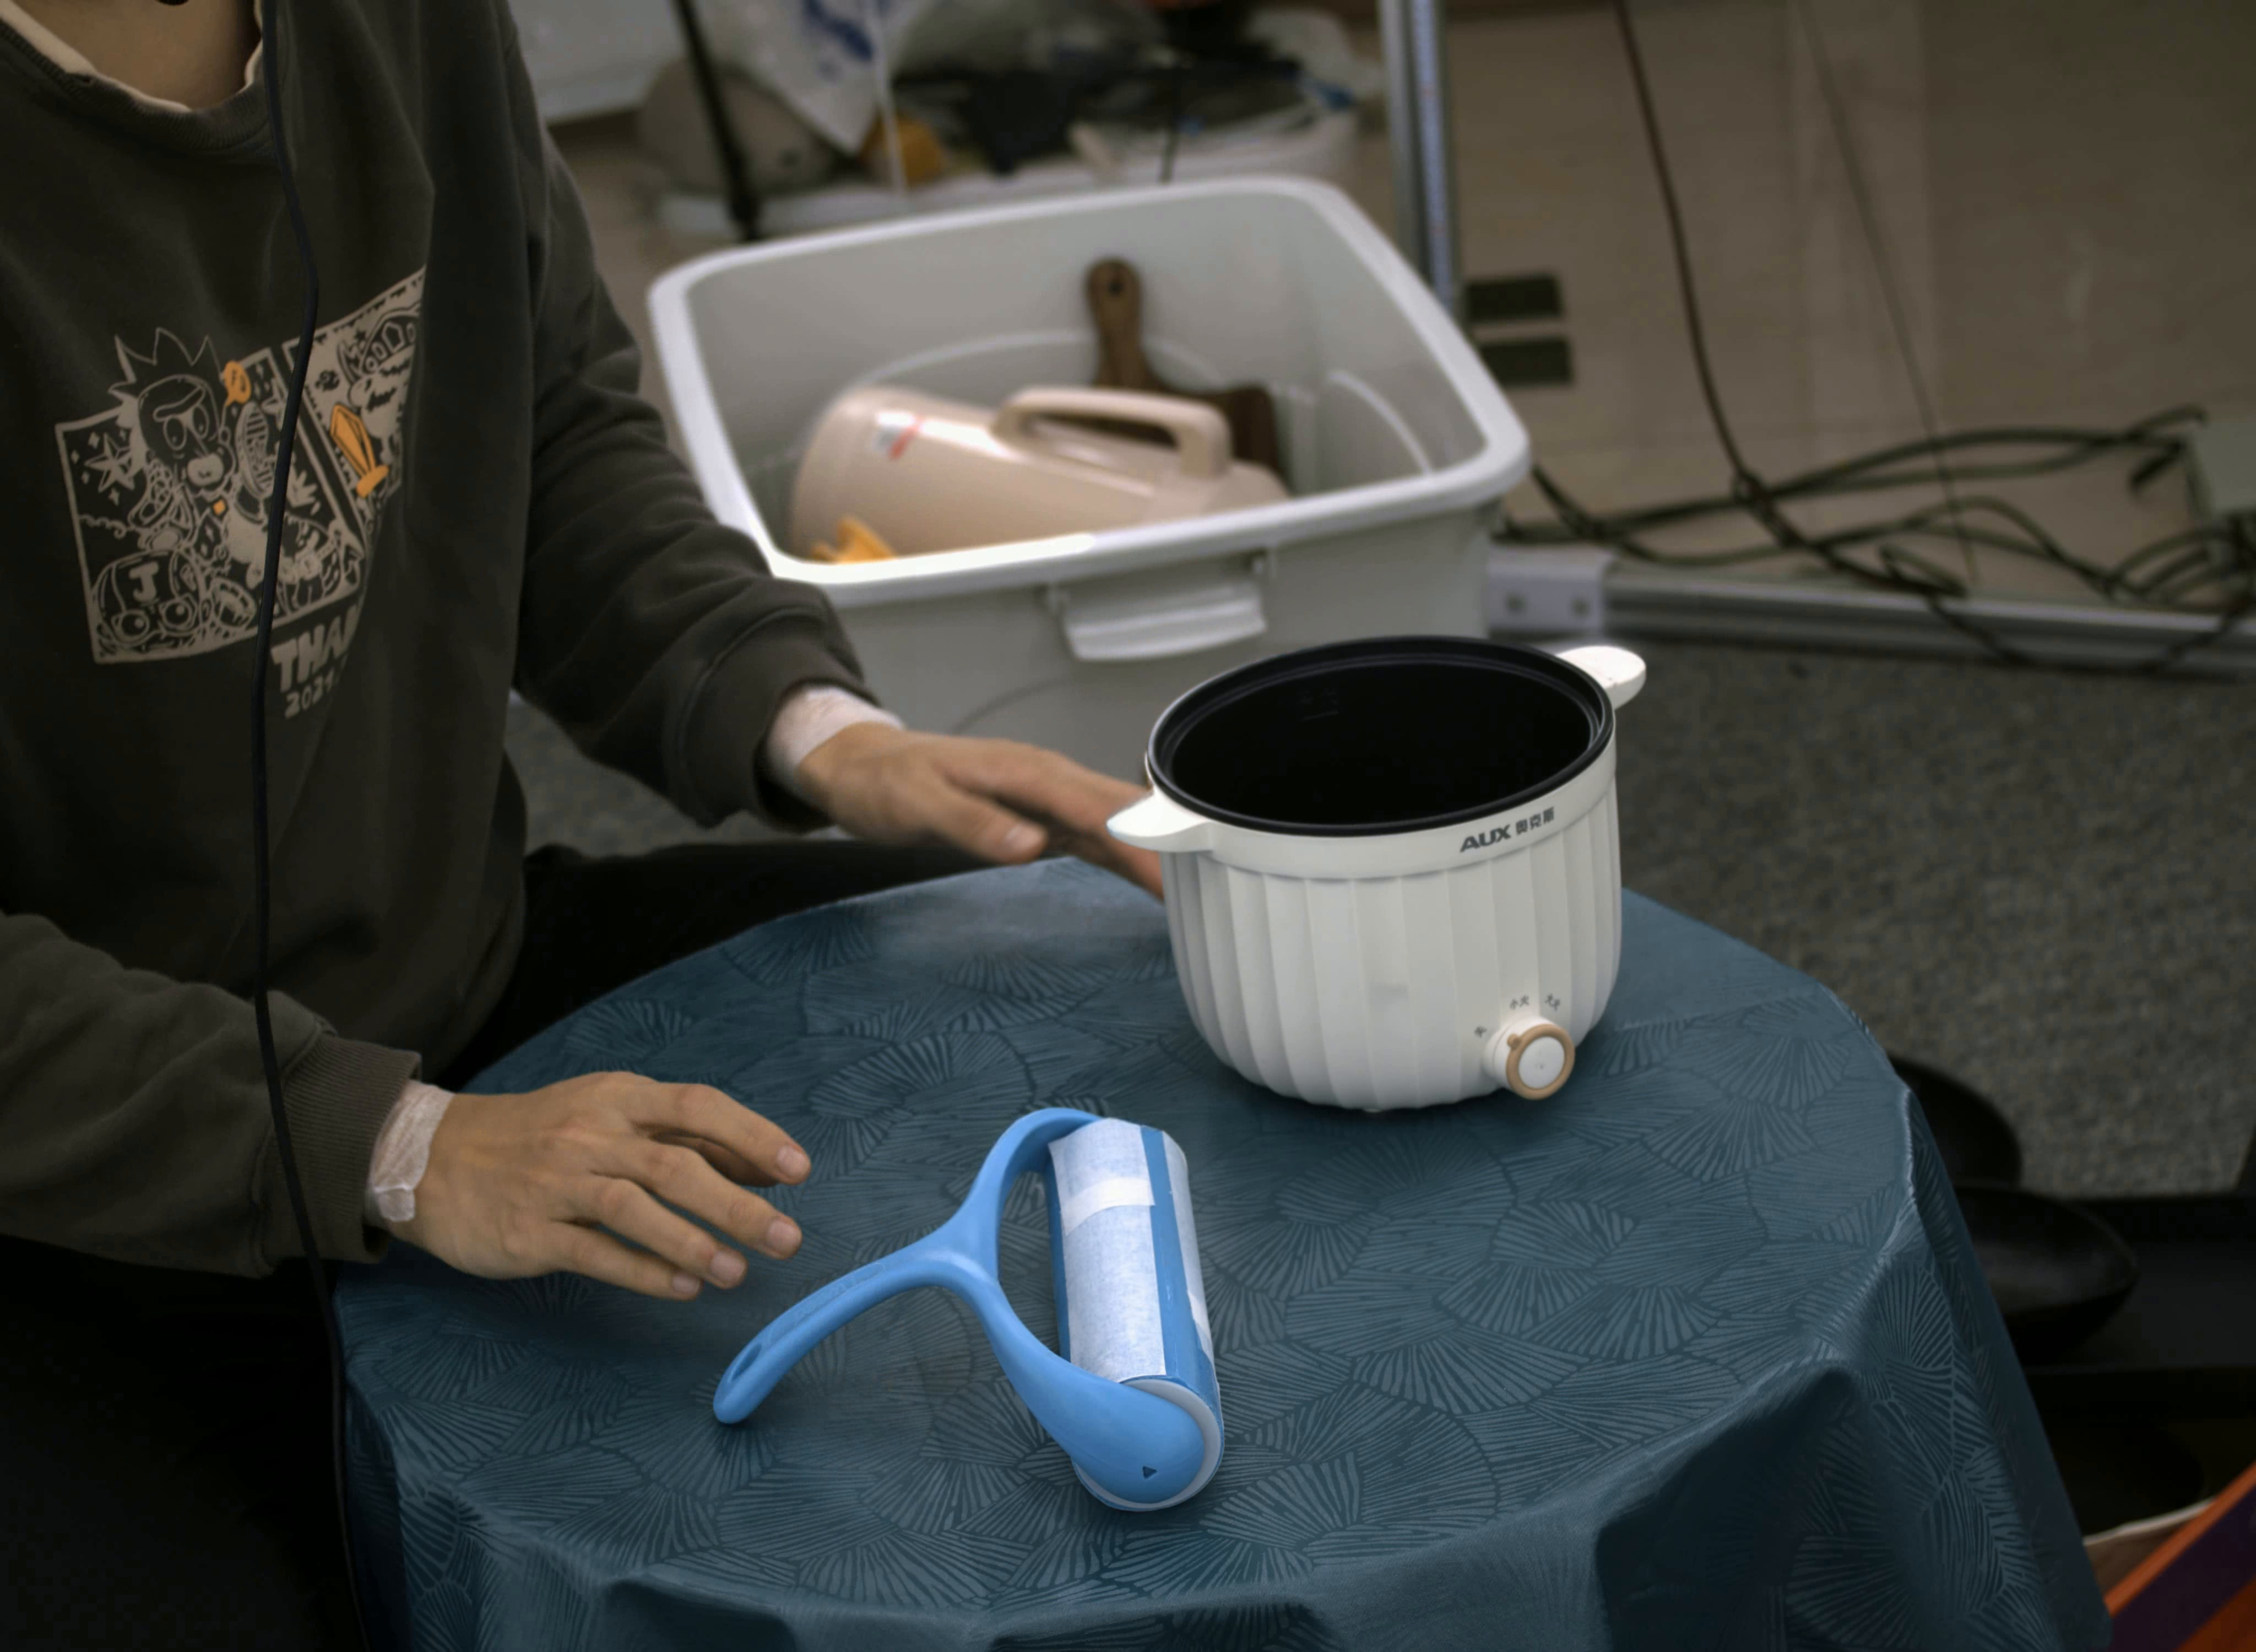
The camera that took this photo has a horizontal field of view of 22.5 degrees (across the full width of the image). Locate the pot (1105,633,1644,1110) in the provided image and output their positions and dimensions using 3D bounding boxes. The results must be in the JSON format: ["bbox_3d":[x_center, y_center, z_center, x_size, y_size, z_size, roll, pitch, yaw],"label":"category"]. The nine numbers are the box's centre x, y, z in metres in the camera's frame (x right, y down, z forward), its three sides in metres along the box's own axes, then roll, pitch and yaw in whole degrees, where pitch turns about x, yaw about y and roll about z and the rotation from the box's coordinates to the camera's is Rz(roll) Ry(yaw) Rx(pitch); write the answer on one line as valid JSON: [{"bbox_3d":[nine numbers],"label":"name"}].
[{"bbox_3d":[0.107,0.023,2.202,0.239,0.145,0.188,-20,26,-24],"label":"pot"}]

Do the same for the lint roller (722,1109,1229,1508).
[{"bbox_3d":[-0.057,0.176,2.012,0.180,0.069,0.225,-7,26,-3],"label":"lint roller"}]
